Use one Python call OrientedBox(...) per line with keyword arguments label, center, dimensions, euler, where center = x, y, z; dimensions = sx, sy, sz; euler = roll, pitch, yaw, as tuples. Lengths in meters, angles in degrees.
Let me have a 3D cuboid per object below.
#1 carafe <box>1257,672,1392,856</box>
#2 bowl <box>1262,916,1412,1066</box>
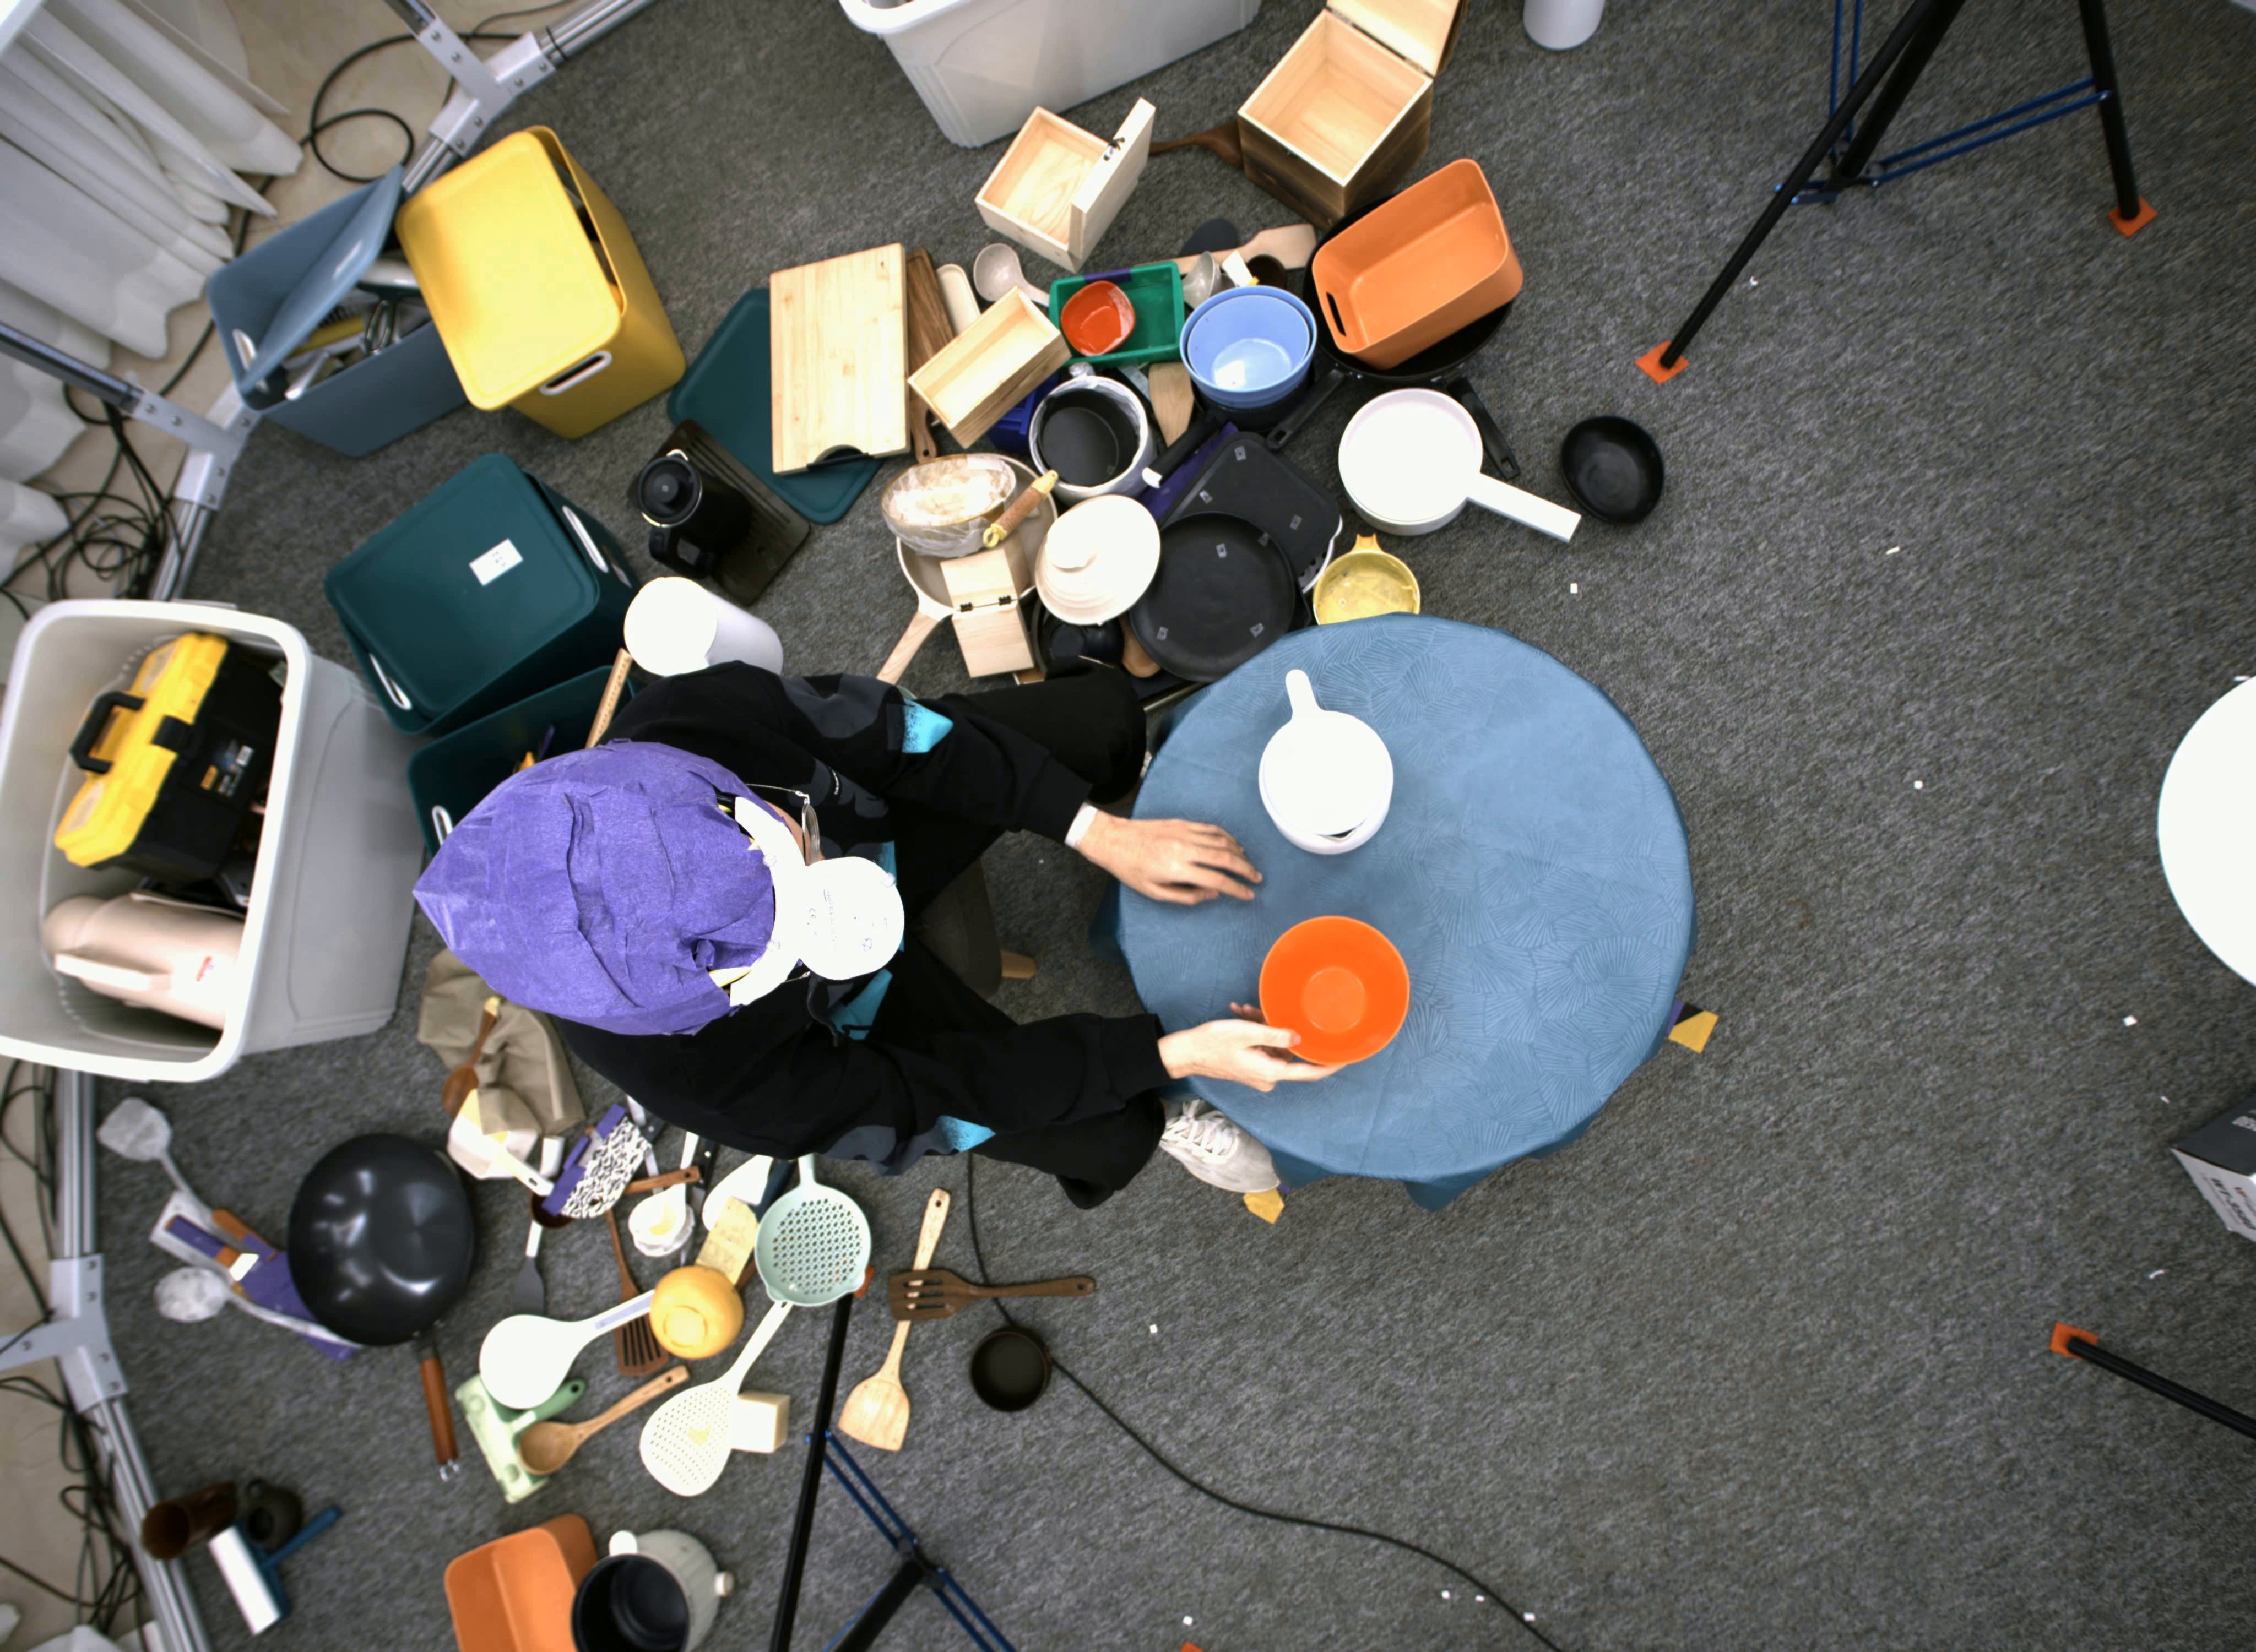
OrientedBox(label="carafe", center=(0.191, -0.065, 1.390), dimensions=(0.133, 0.183, 0.189), euler=(-18, 80, 7))
OrientedBox(label="bowl", center=(0.212, 0.166, 1.402), dimensions=(0.148, 0.105, 0.147), euler=(-1, 85, 10))
